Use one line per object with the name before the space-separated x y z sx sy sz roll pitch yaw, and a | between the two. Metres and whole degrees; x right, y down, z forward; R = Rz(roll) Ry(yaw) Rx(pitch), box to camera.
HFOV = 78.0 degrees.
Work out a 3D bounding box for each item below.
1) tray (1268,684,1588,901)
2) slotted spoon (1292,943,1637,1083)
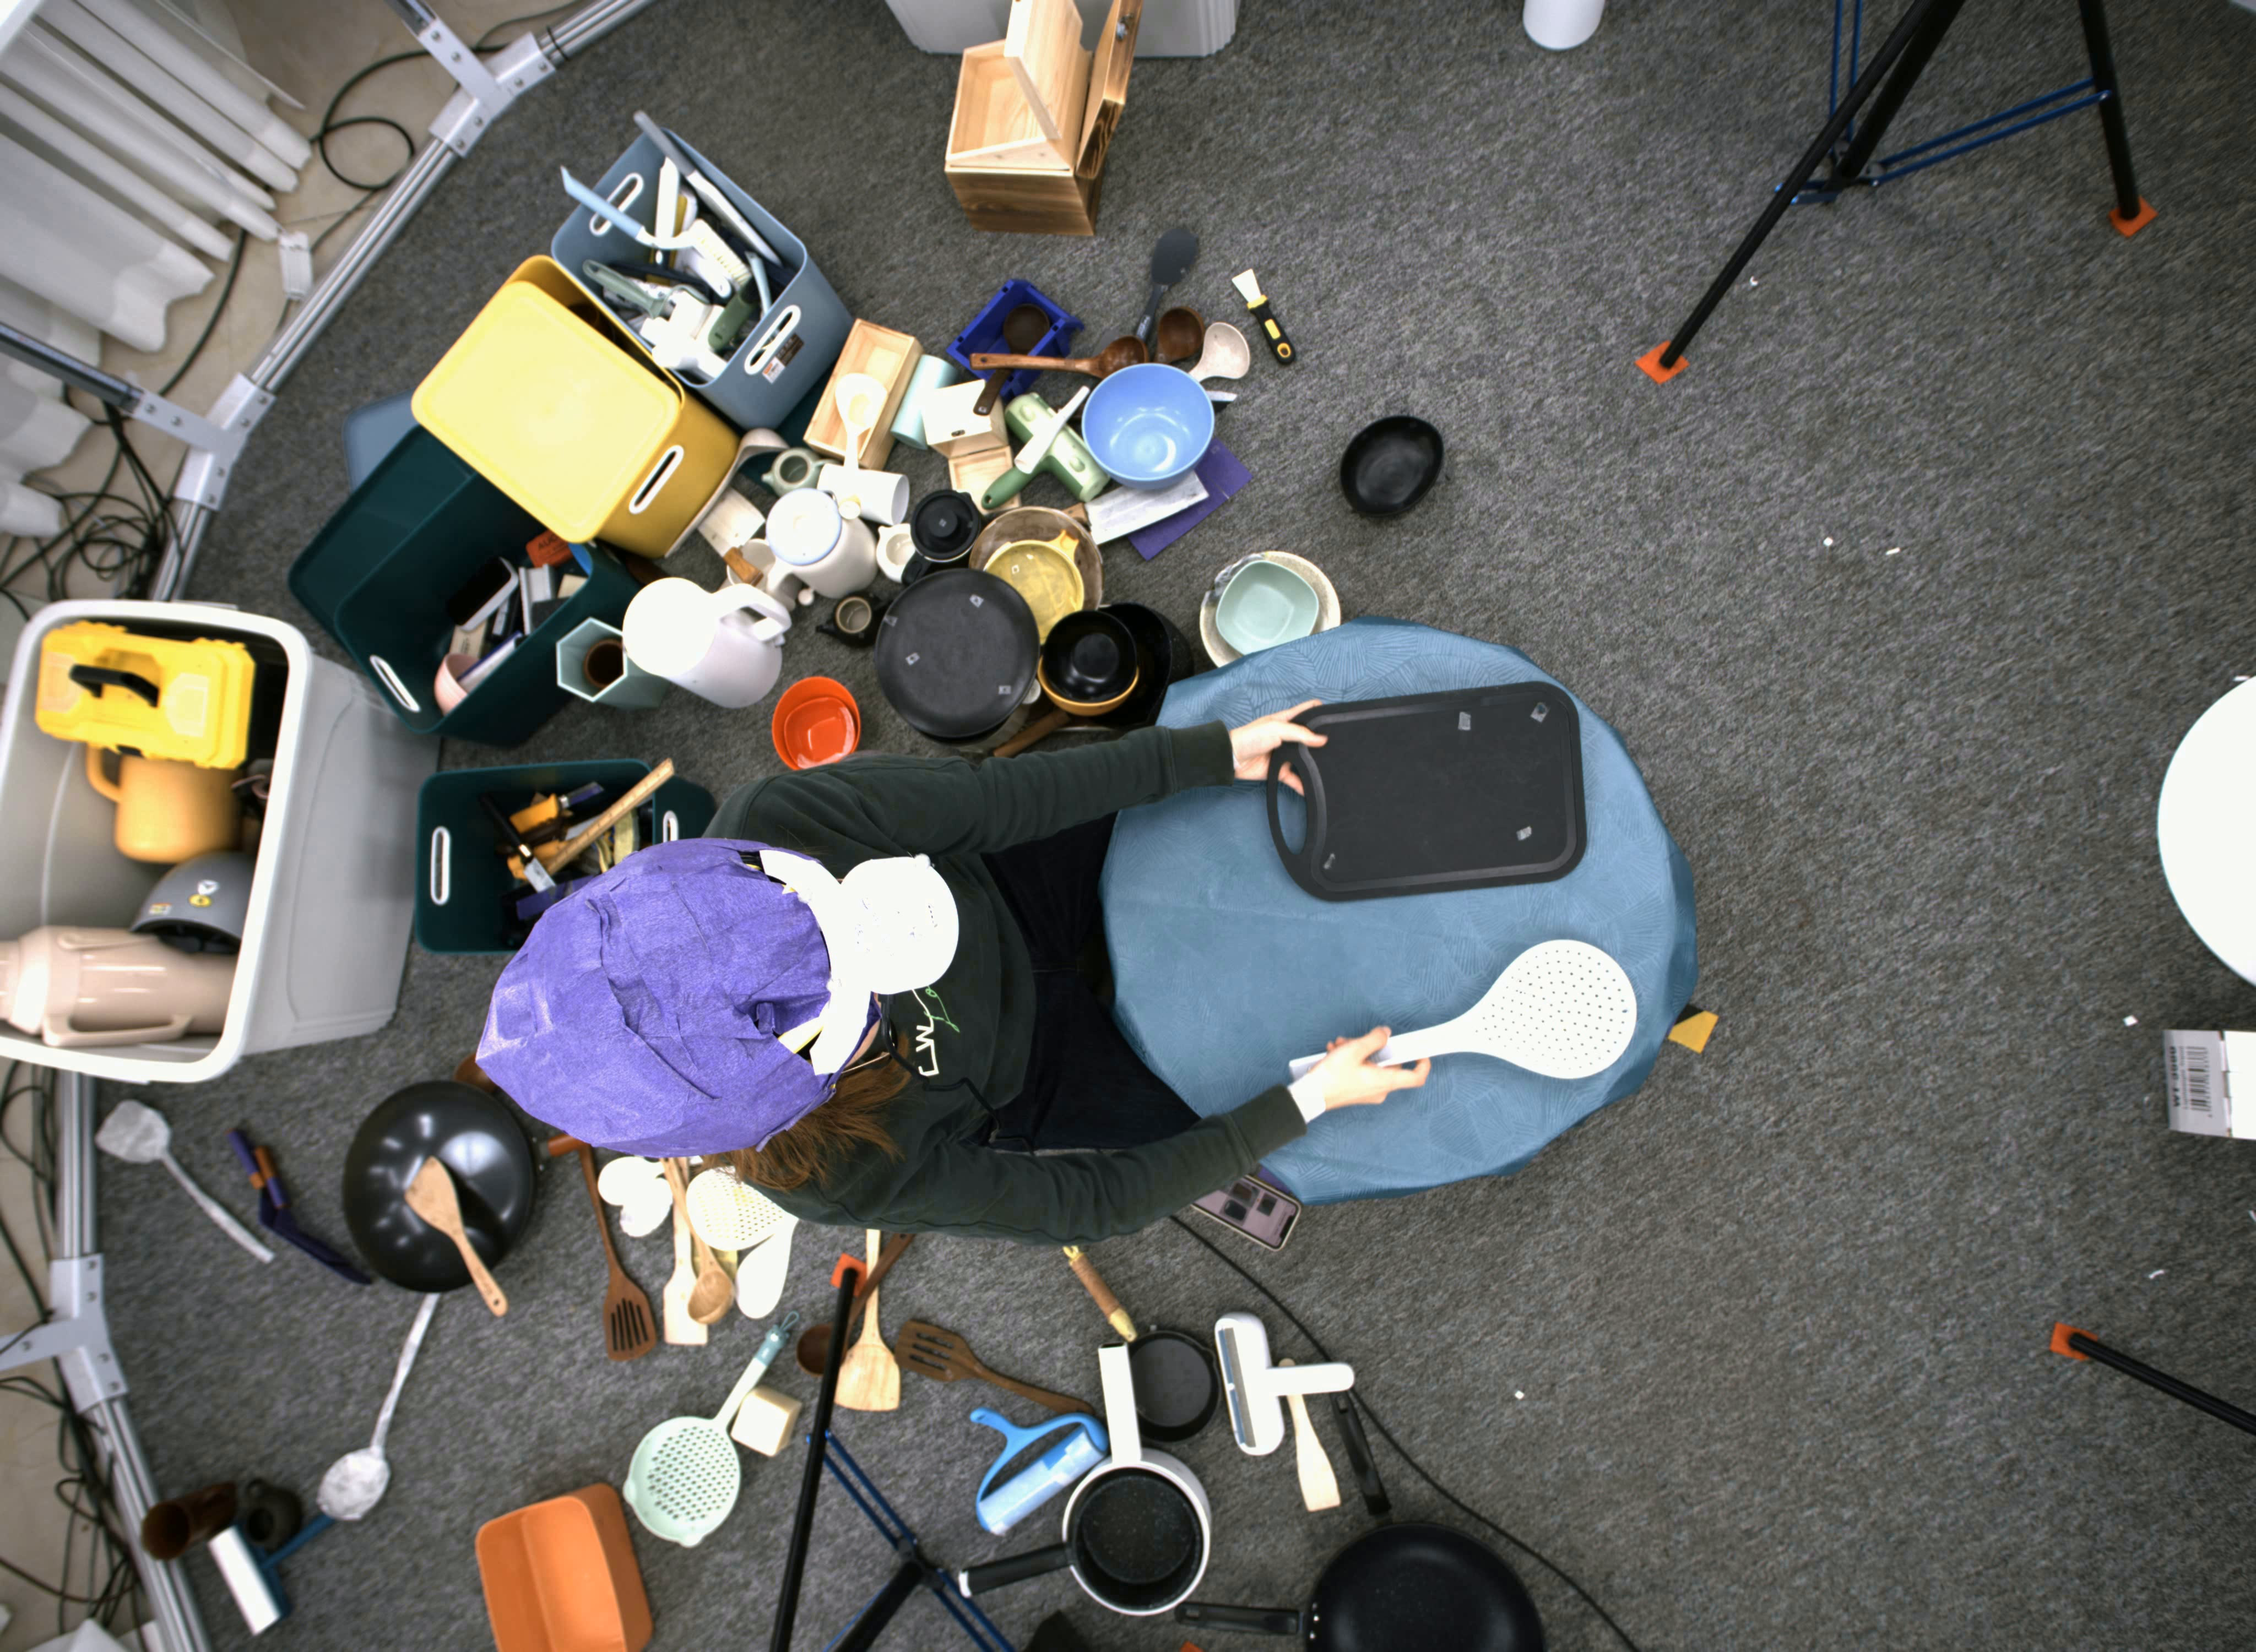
tray | 0.309 -0.032 1.428 0.327 0.009 0.213 -5 102 9
slotted spoon | 0.339 0.209 1.400 0.350 0.046 0.134 -13 78 1
